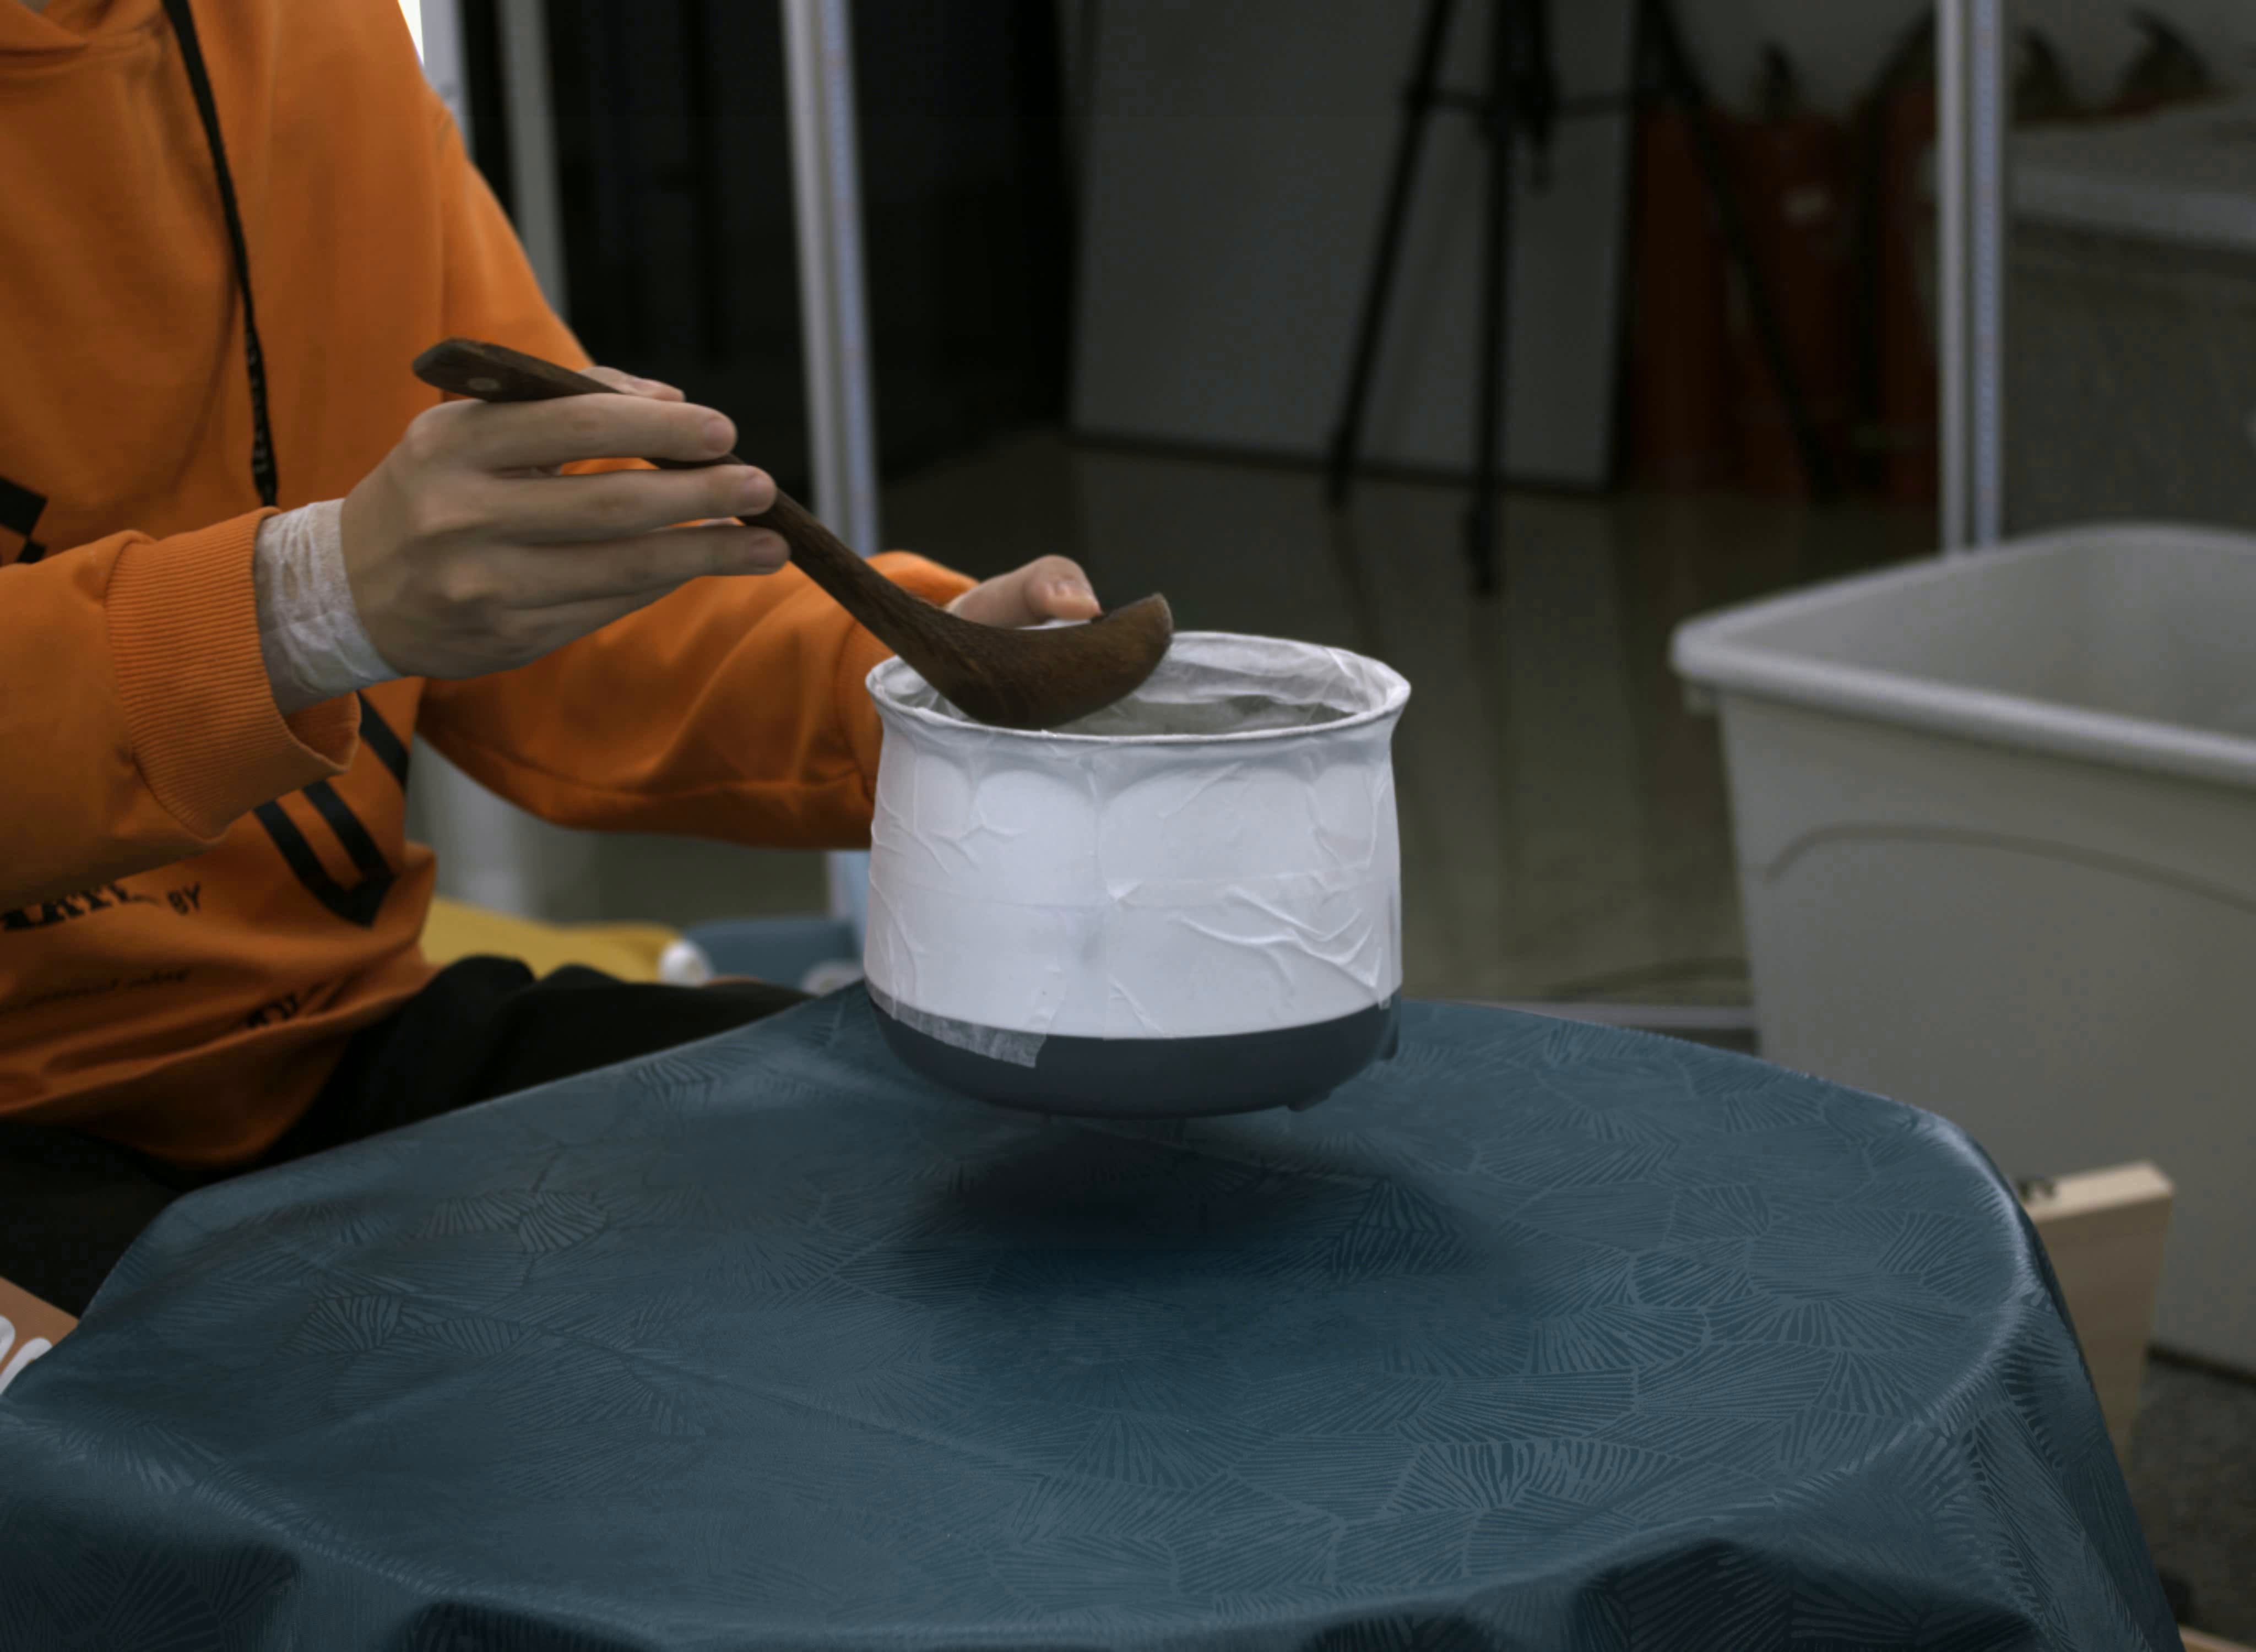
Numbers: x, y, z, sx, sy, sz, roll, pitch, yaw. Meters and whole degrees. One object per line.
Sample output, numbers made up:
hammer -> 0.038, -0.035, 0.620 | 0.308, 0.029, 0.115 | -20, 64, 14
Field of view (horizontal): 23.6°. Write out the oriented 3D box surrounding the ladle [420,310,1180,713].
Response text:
ladle -> -0.100, -0.110, 1.712 | 0.077, 0.270, 0.072 | -33, 34, 44

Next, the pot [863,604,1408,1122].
pot -> -0.005, 0.008, 1.771 | 0.175, 0.138, 0.235 | -2, 12, -14
